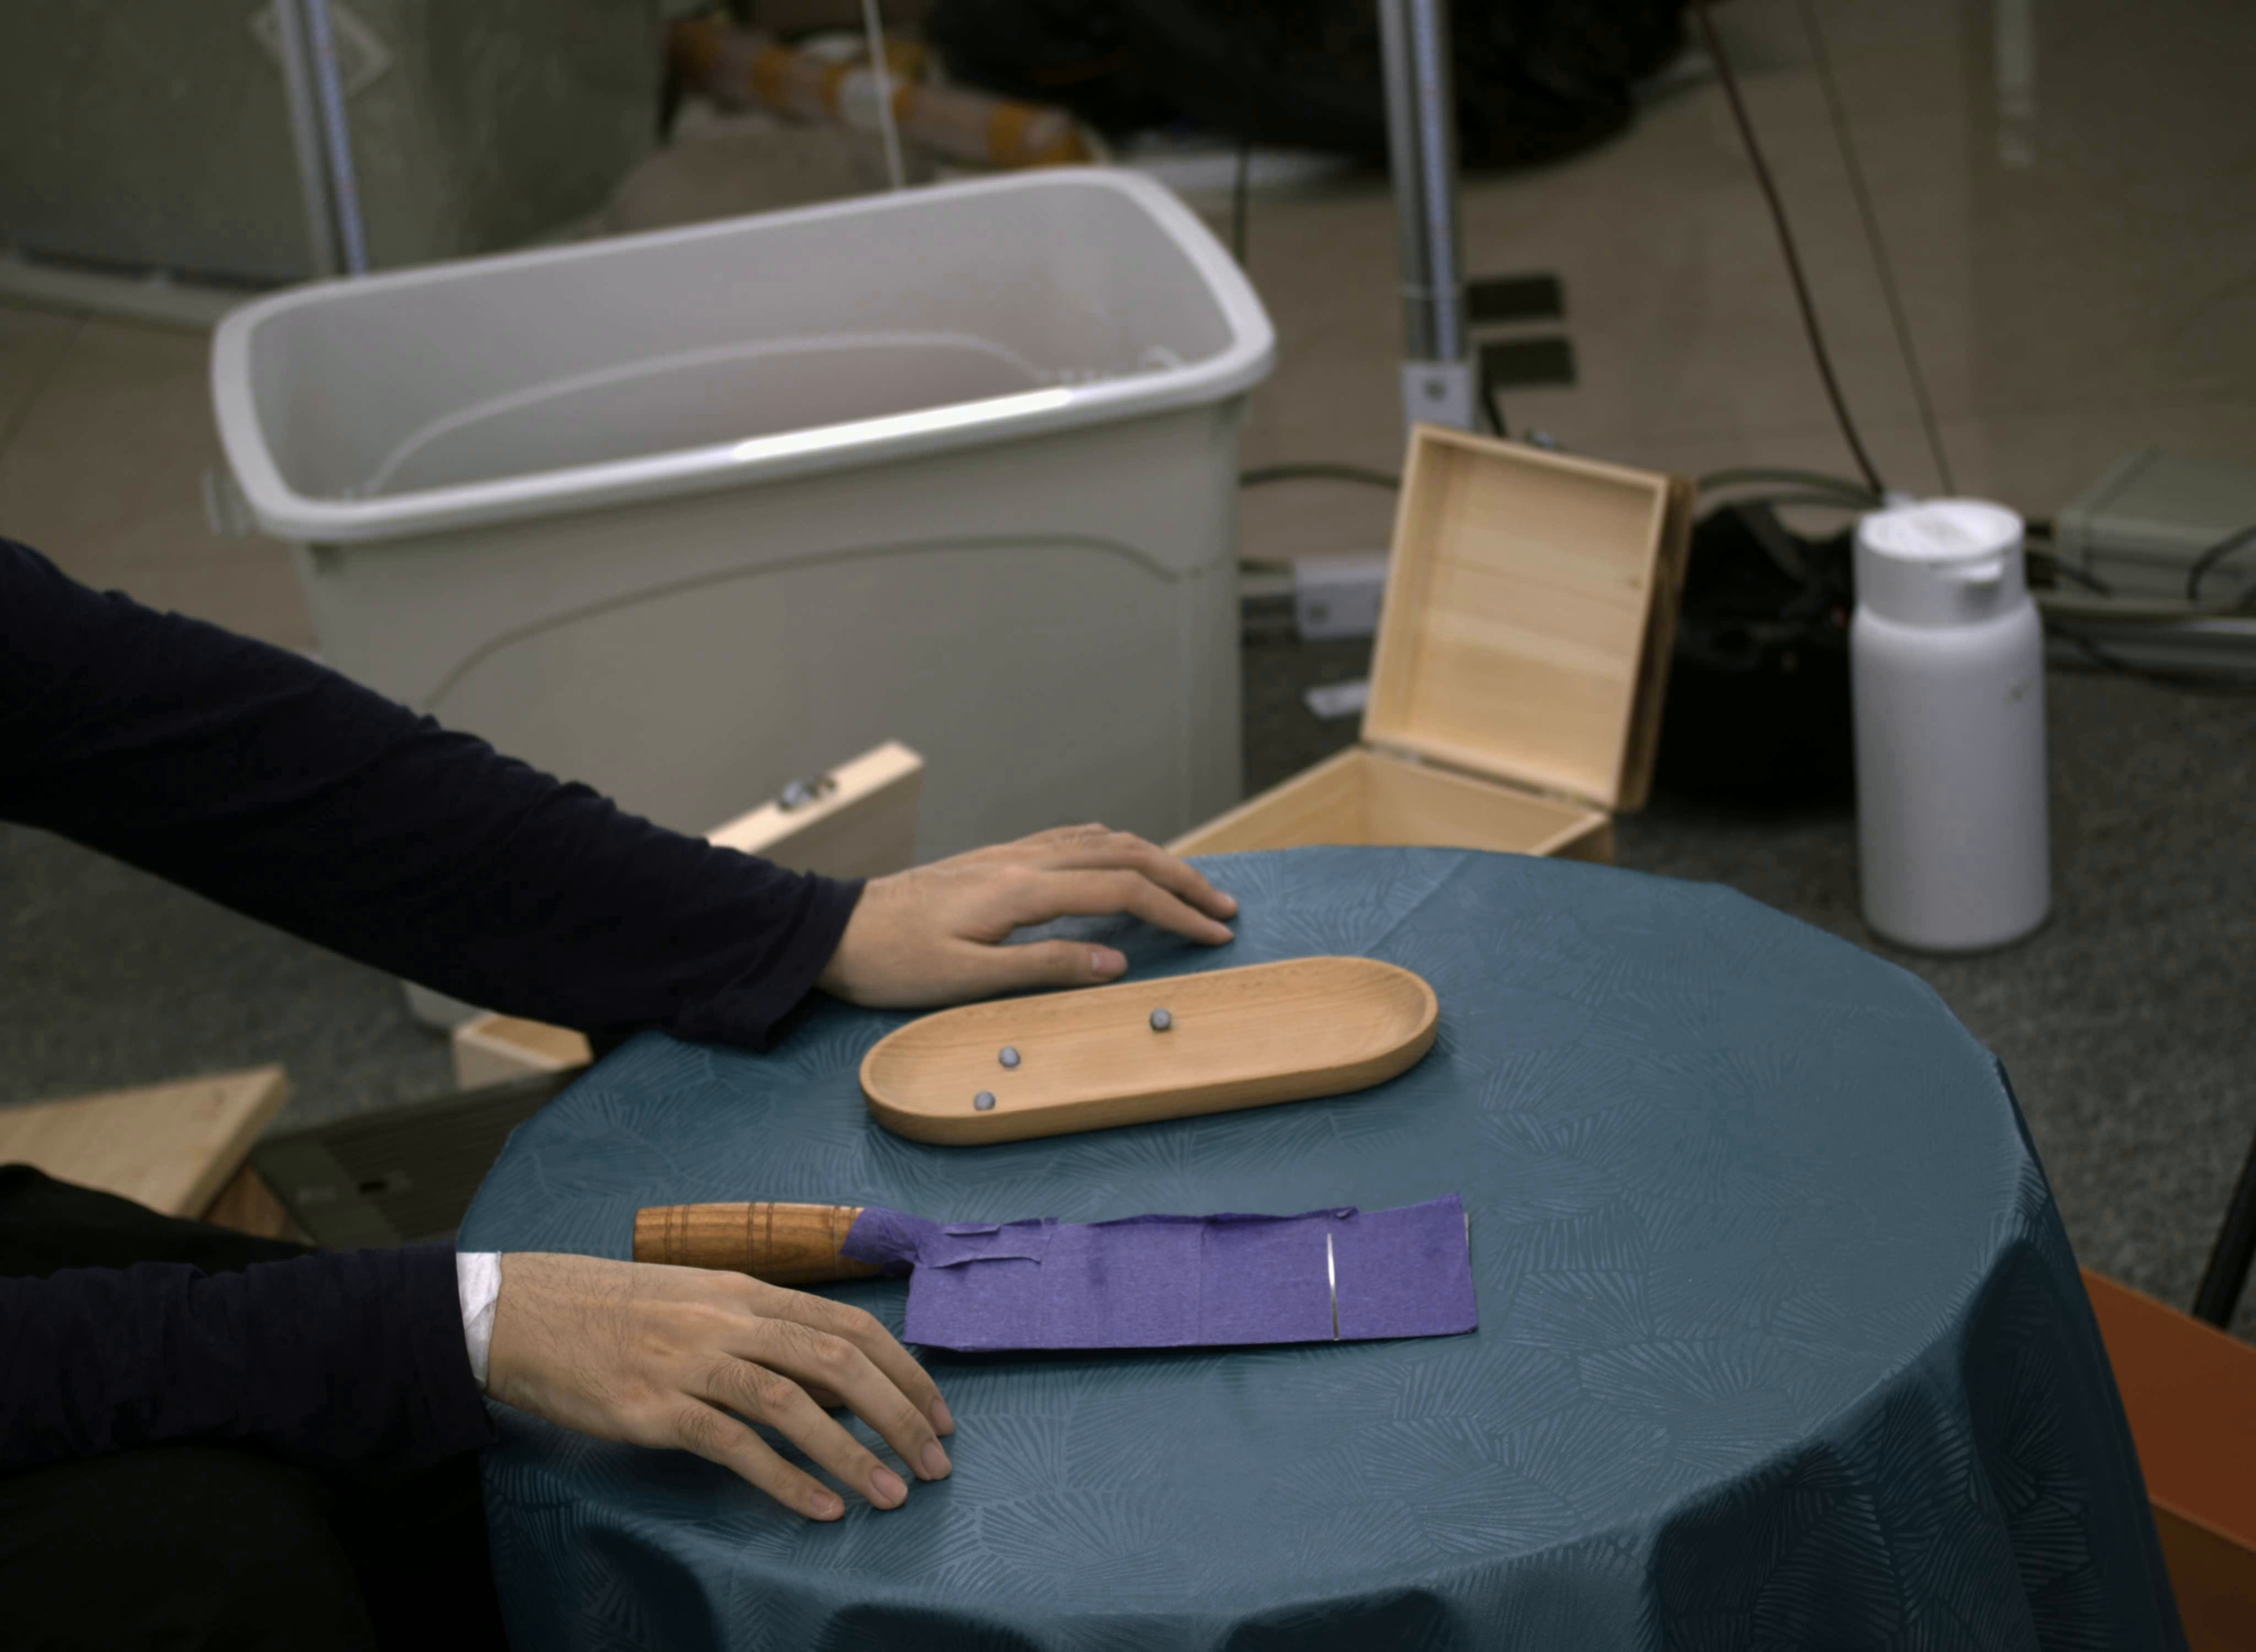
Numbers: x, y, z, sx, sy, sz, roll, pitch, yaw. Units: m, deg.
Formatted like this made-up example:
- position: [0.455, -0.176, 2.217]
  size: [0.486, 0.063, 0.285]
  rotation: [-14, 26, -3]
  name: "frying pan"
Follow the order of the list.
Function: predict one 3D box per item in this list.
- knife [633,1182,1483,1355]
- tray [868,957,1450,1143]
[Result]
- position: [-0.028, 0.163, 2.075]
  size: [0.315, 0.033, 0.102]
  rotation: [-4, 25, 4]
  name: "knife"
- position: [0.013, 0.089, 2.239]
  size: [0.231, 0.020, 0.100]
  rotation: [-6, 27, -5]
  name: "tray"
